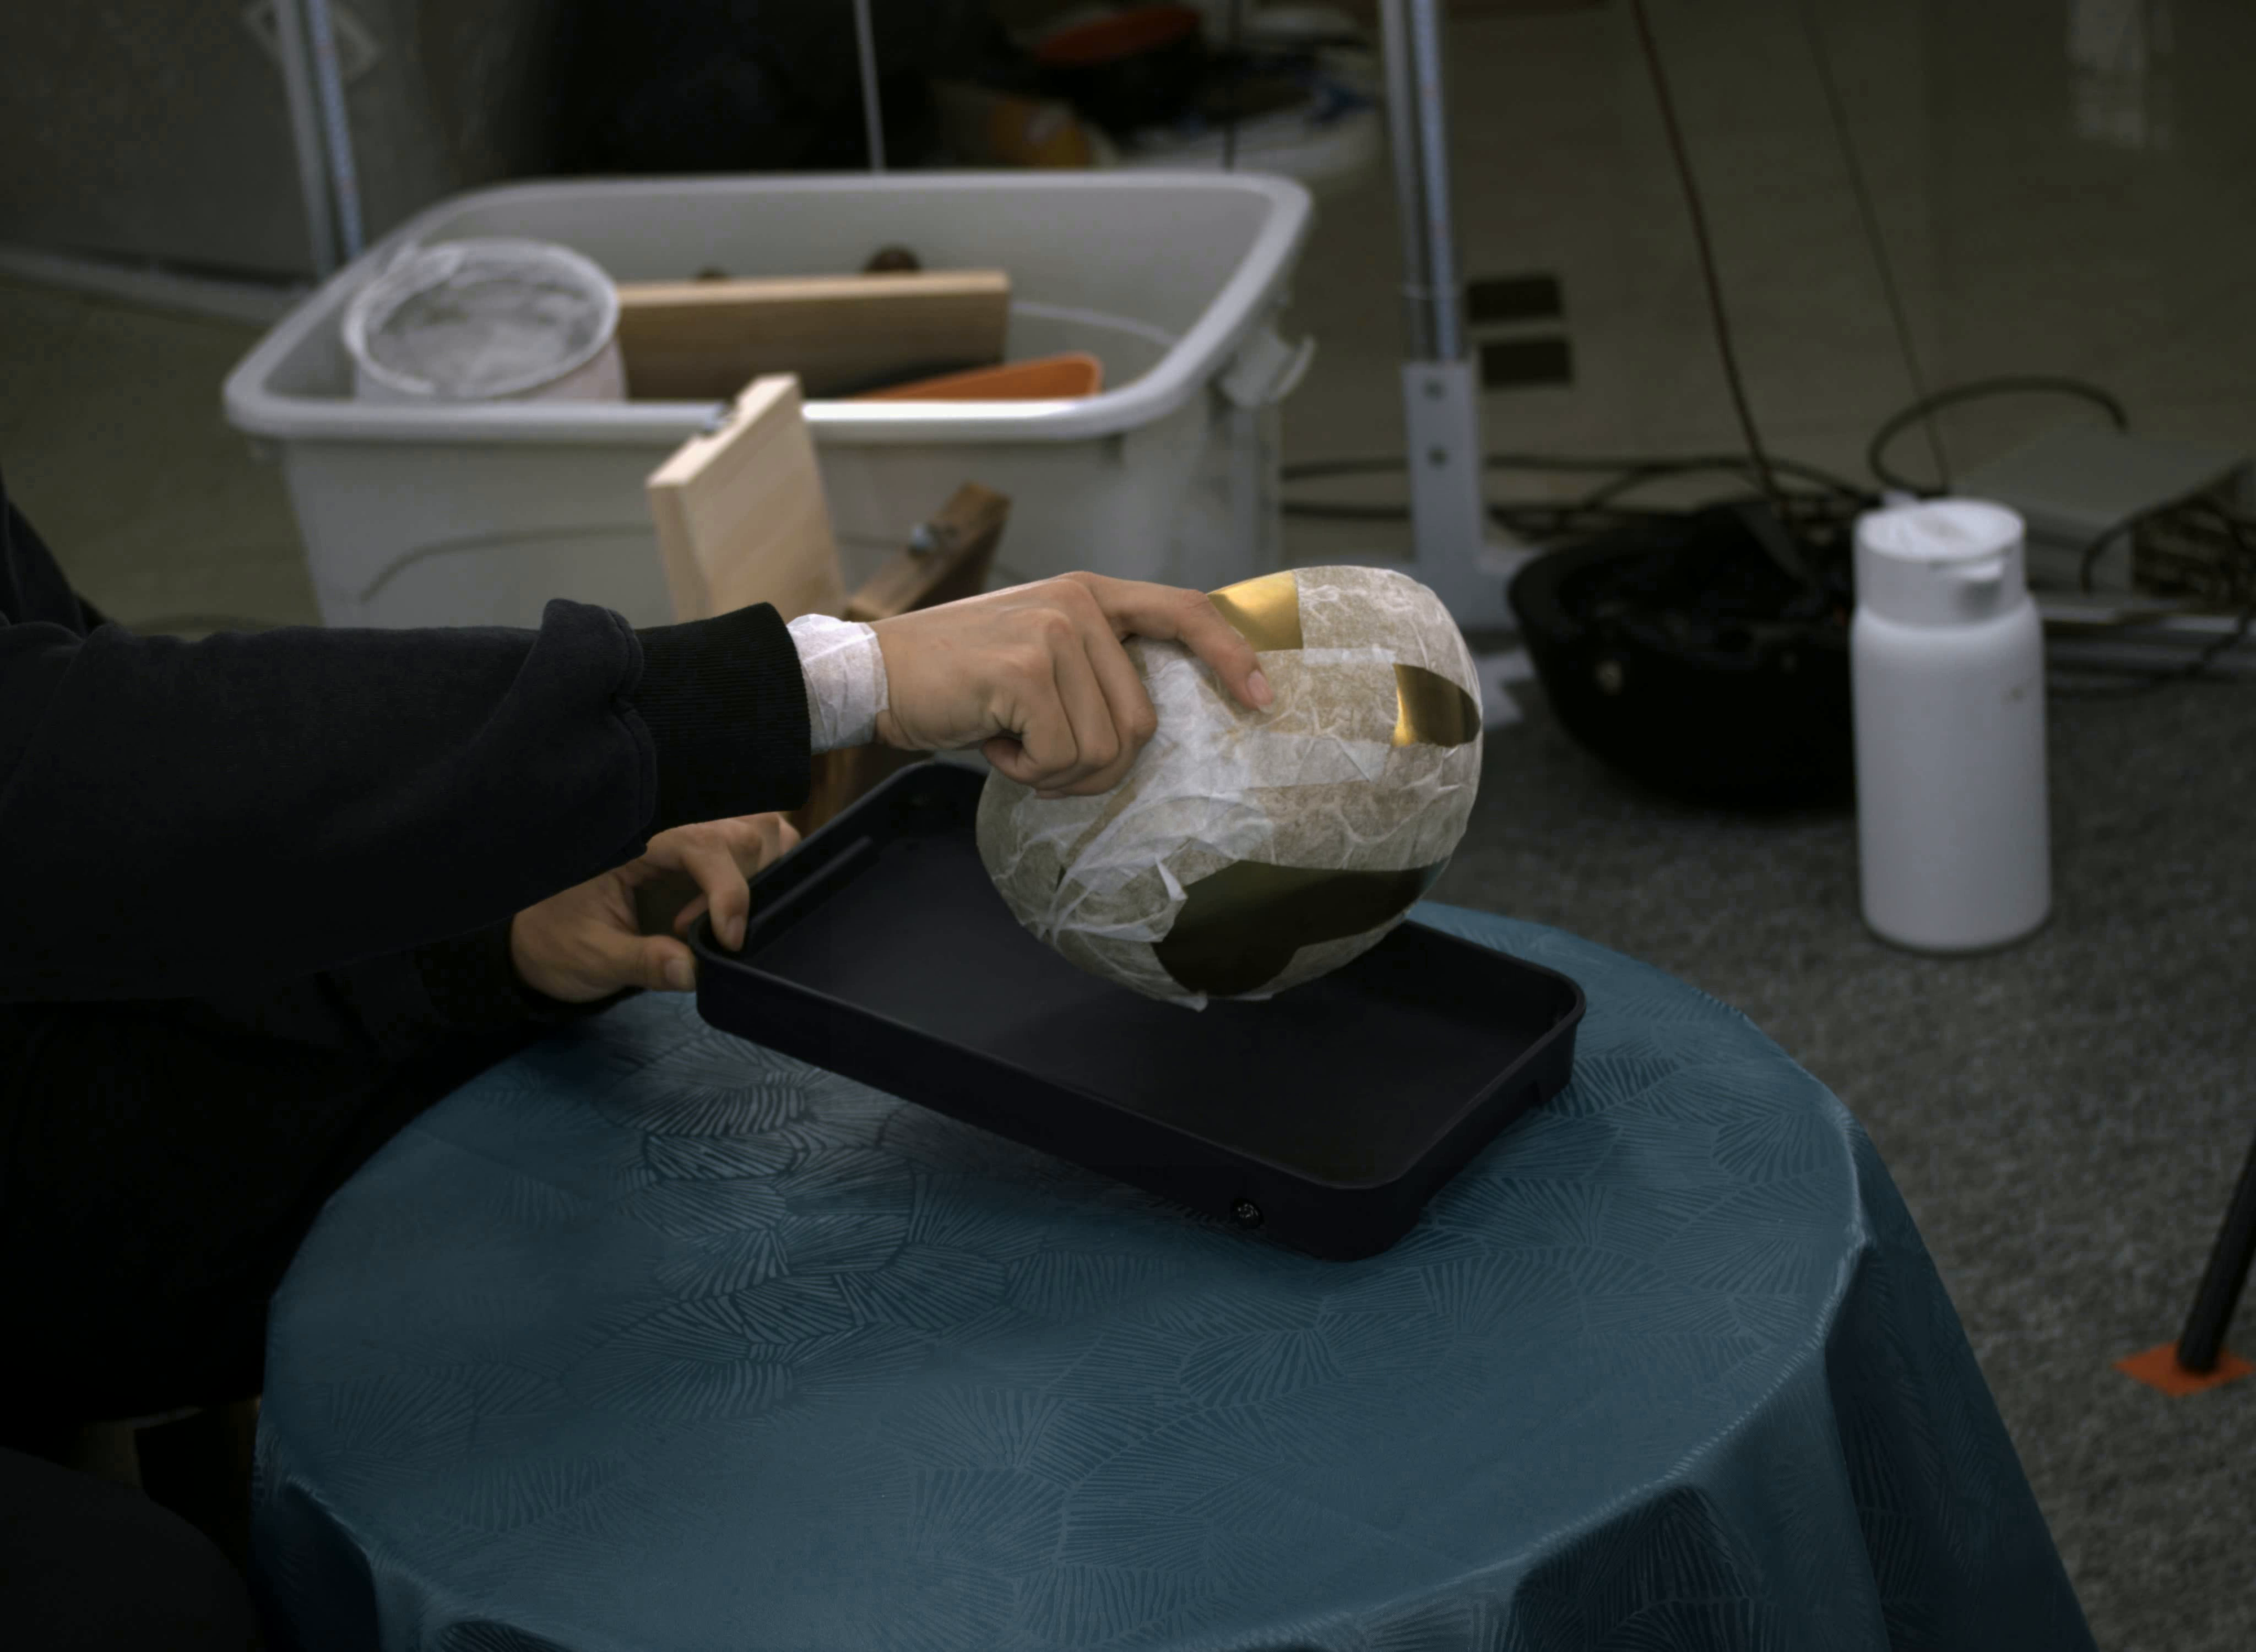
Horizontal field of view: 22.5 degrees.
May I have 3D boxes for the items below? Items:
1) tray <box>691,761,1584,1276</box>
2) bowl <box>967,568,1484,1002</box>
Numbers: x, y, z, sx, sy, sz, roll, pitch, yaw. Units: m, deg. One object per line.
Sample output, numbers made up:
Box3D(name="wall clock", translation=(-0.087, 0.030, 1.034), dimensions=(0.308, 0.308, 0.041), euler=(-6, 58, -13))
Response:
Box3D(name="tray", translation=(0.002, 0.070, 2.201), dimensions=(0.315, 0.038, 0.182), euler=(22, 35, 26))
Box3D(name="bowl", translation=(0.049, 0.004, 2.132), dimensions=(0.214, 0.218, 0.093), euler=(-16, 60, -20))
